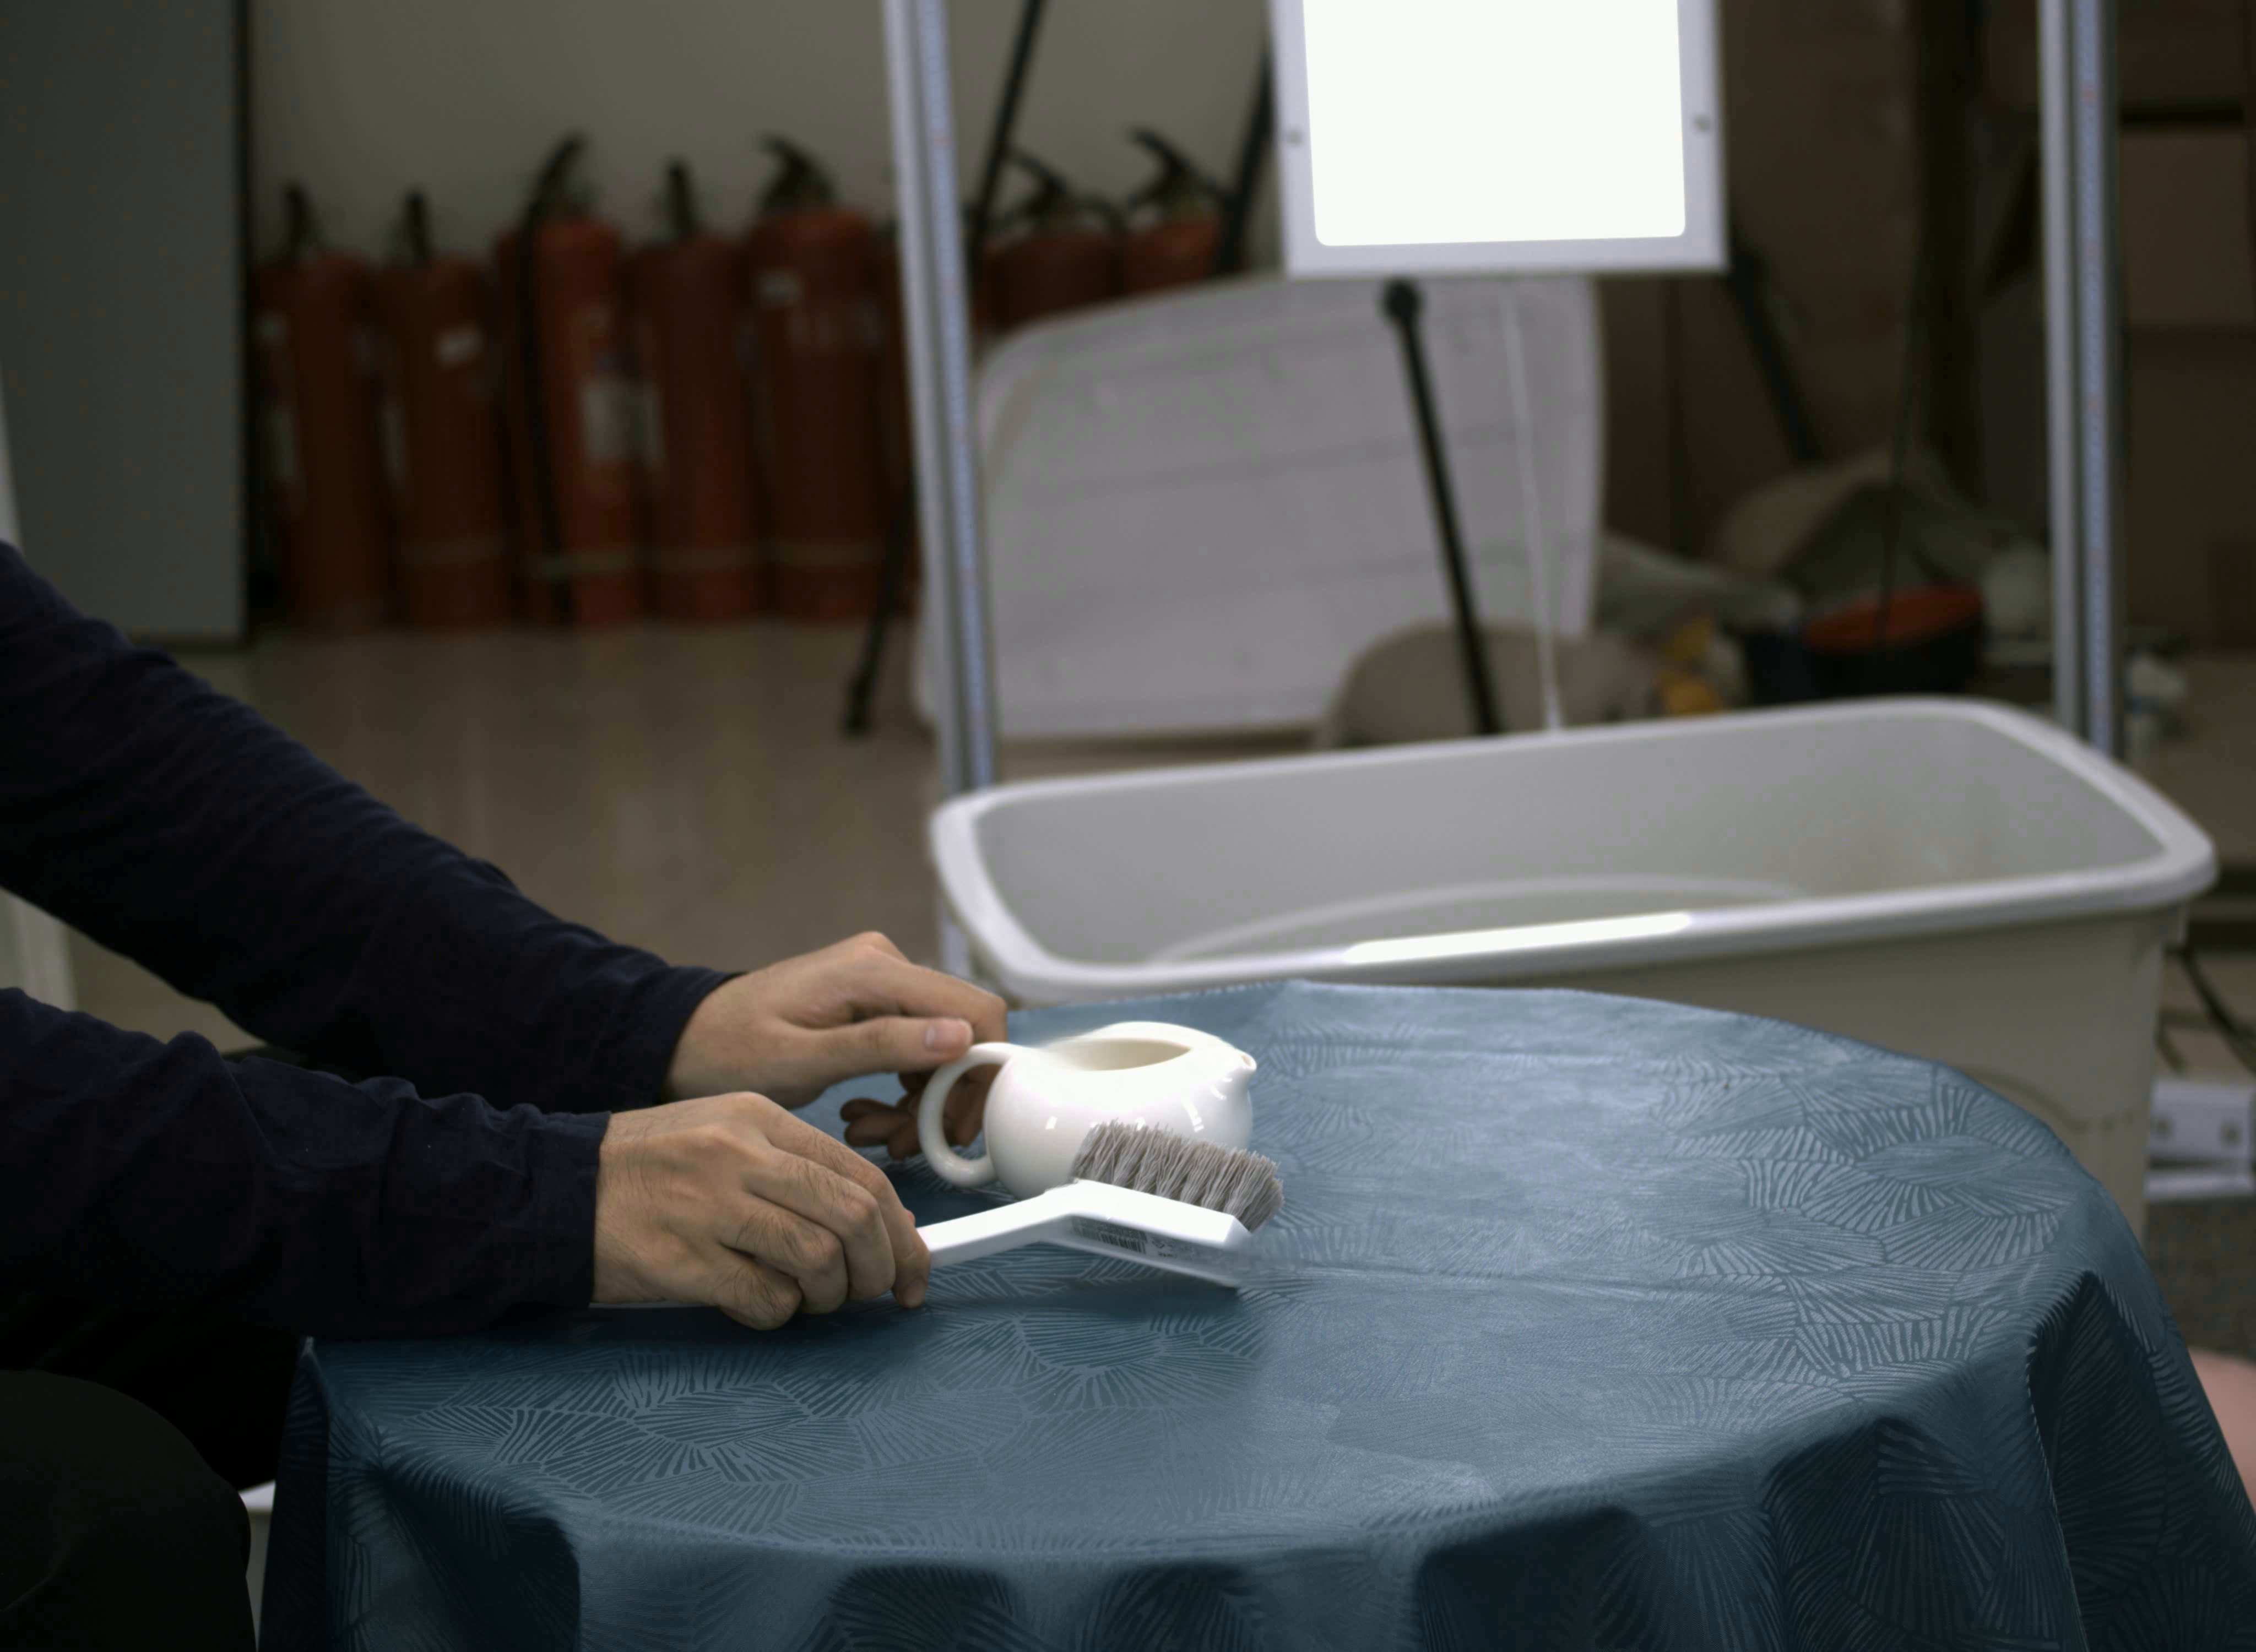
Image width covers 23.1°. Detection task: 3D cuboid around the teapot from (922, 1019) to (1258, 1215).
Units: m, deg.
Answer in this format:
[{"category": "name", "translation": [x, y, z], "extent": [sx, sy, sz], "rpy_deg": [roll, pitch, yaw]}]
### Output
[{"category": "teapot", "translation": [-0.013, 0.103, 1.892], "extent": [0.129, 0.057, 0.092], "rpy_deg": [-2, 19, 20]}]

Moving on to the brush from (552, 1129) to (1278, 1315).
[{"category": "brush", "translation": [-0.071, 0.130, 1.810], "extent": [0.246, 0.050, 0.034], "rpy_deg": [-4, -24, 15]}]
